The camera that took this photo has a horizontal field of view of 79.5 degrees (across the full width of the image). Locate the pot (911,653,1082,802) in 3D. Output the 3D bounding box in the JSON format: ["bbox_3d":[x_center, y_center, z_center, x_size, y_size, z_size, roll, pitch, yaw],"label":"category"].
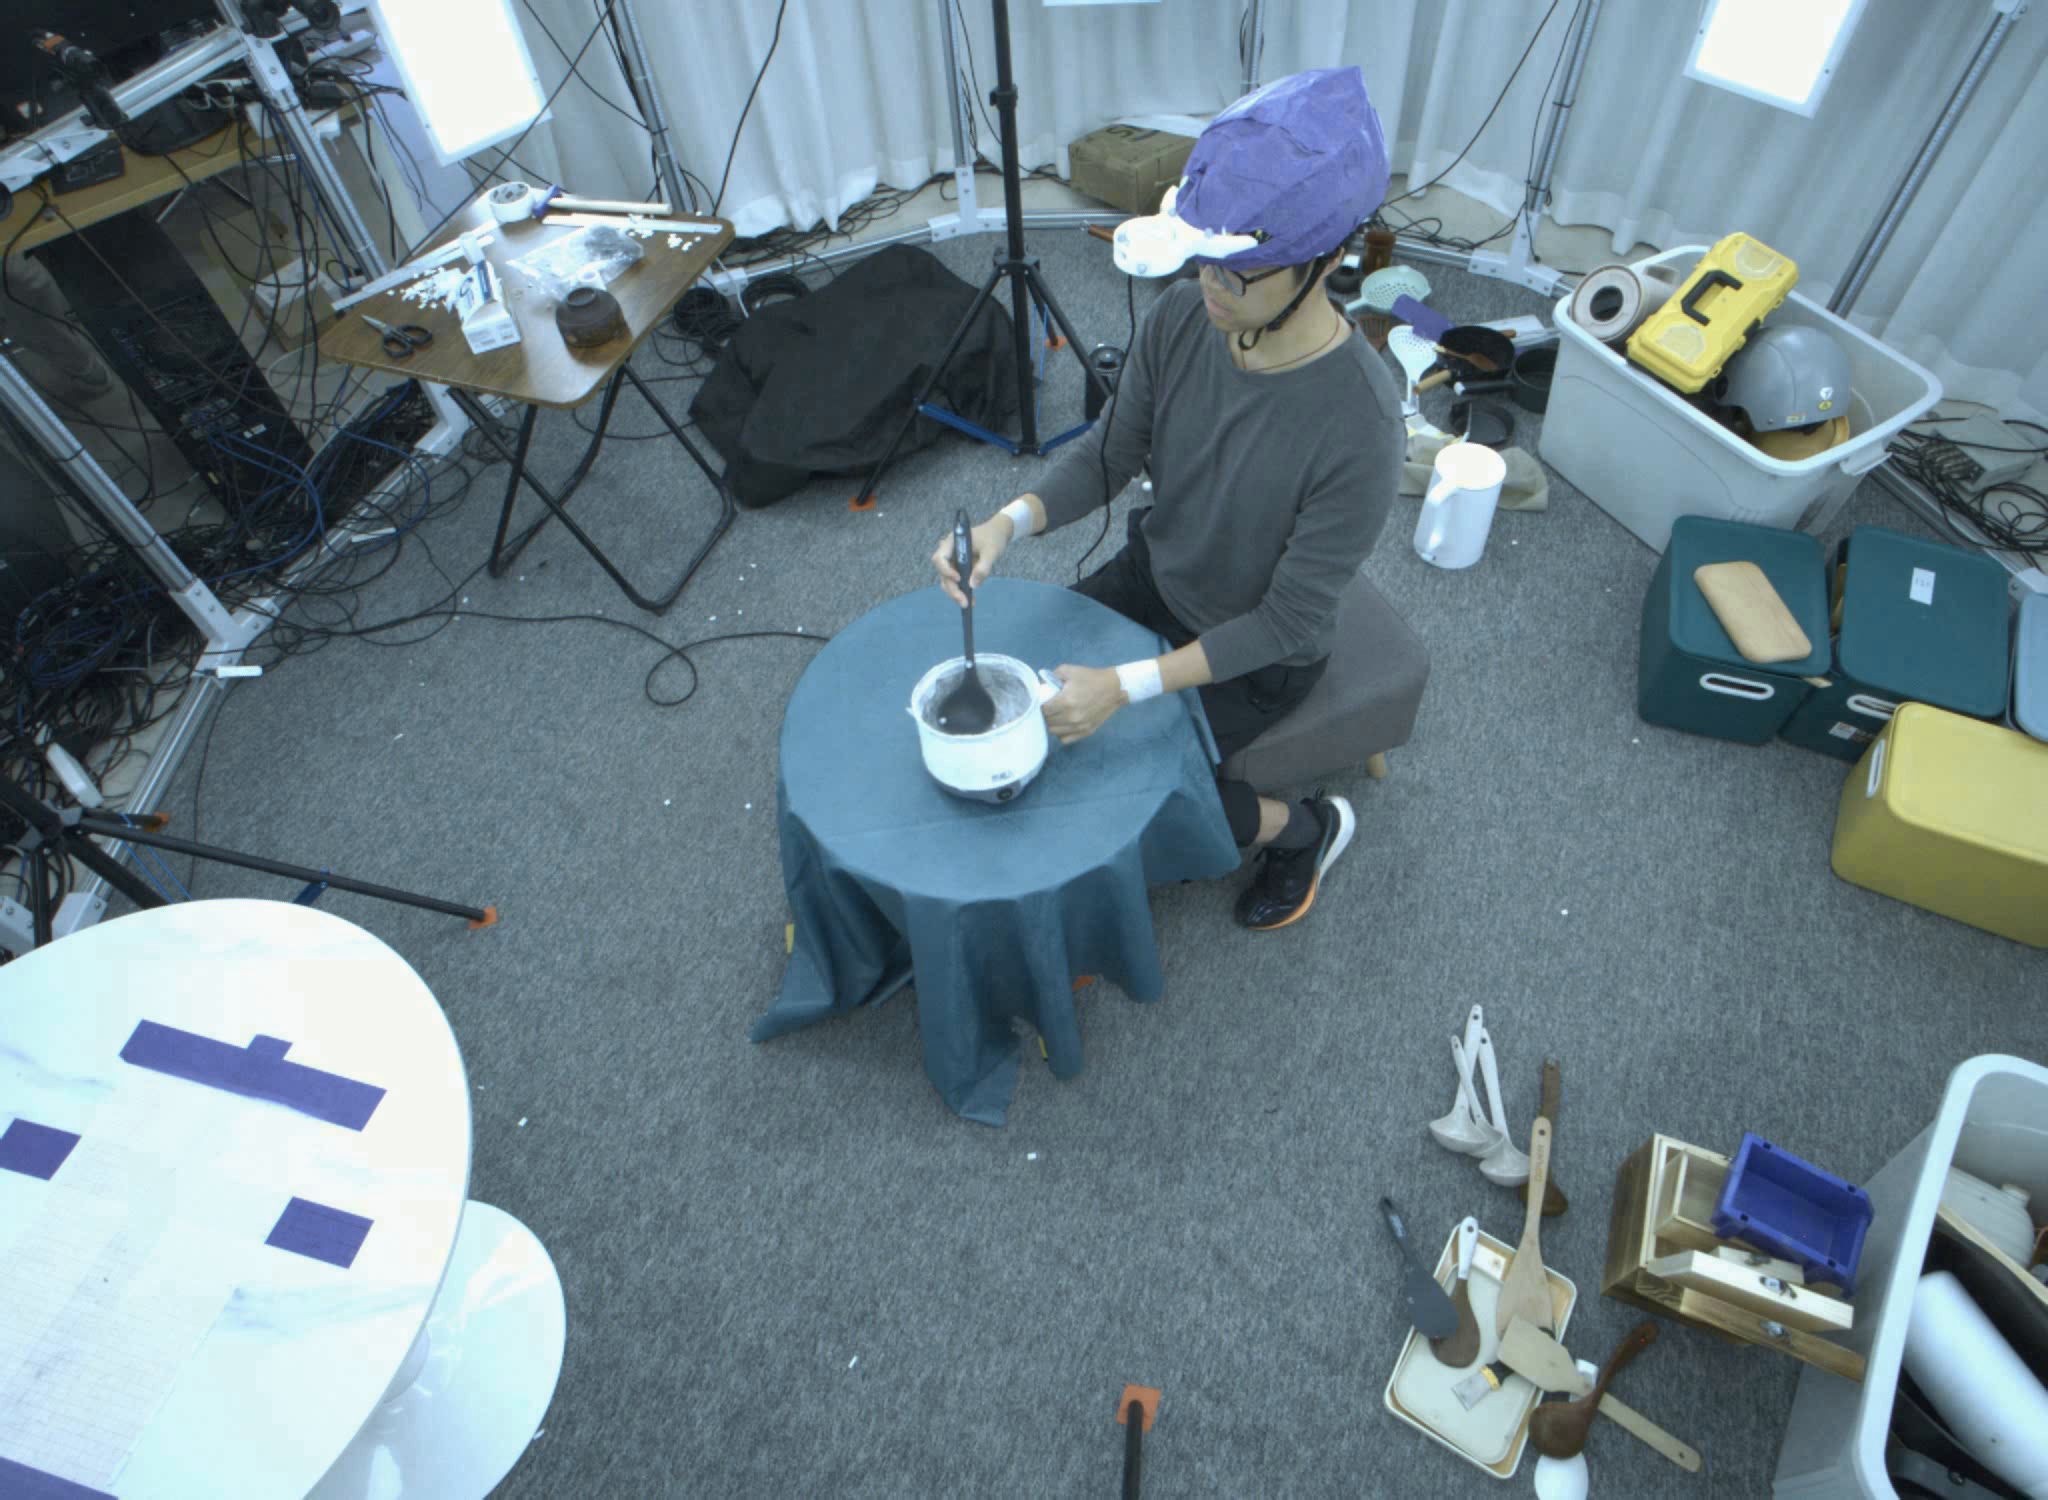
[{"bbox_3d":[-0.034,-0.039,1.729,0.235,0.138,0.175,-18,45,-11],"label":"pot"}]

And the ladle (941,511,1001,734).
[{"bbox_3d":[-0.080,-0.167,1.678,0.086,0.316,0.064,0,23,8],"label":"ladle"}]
